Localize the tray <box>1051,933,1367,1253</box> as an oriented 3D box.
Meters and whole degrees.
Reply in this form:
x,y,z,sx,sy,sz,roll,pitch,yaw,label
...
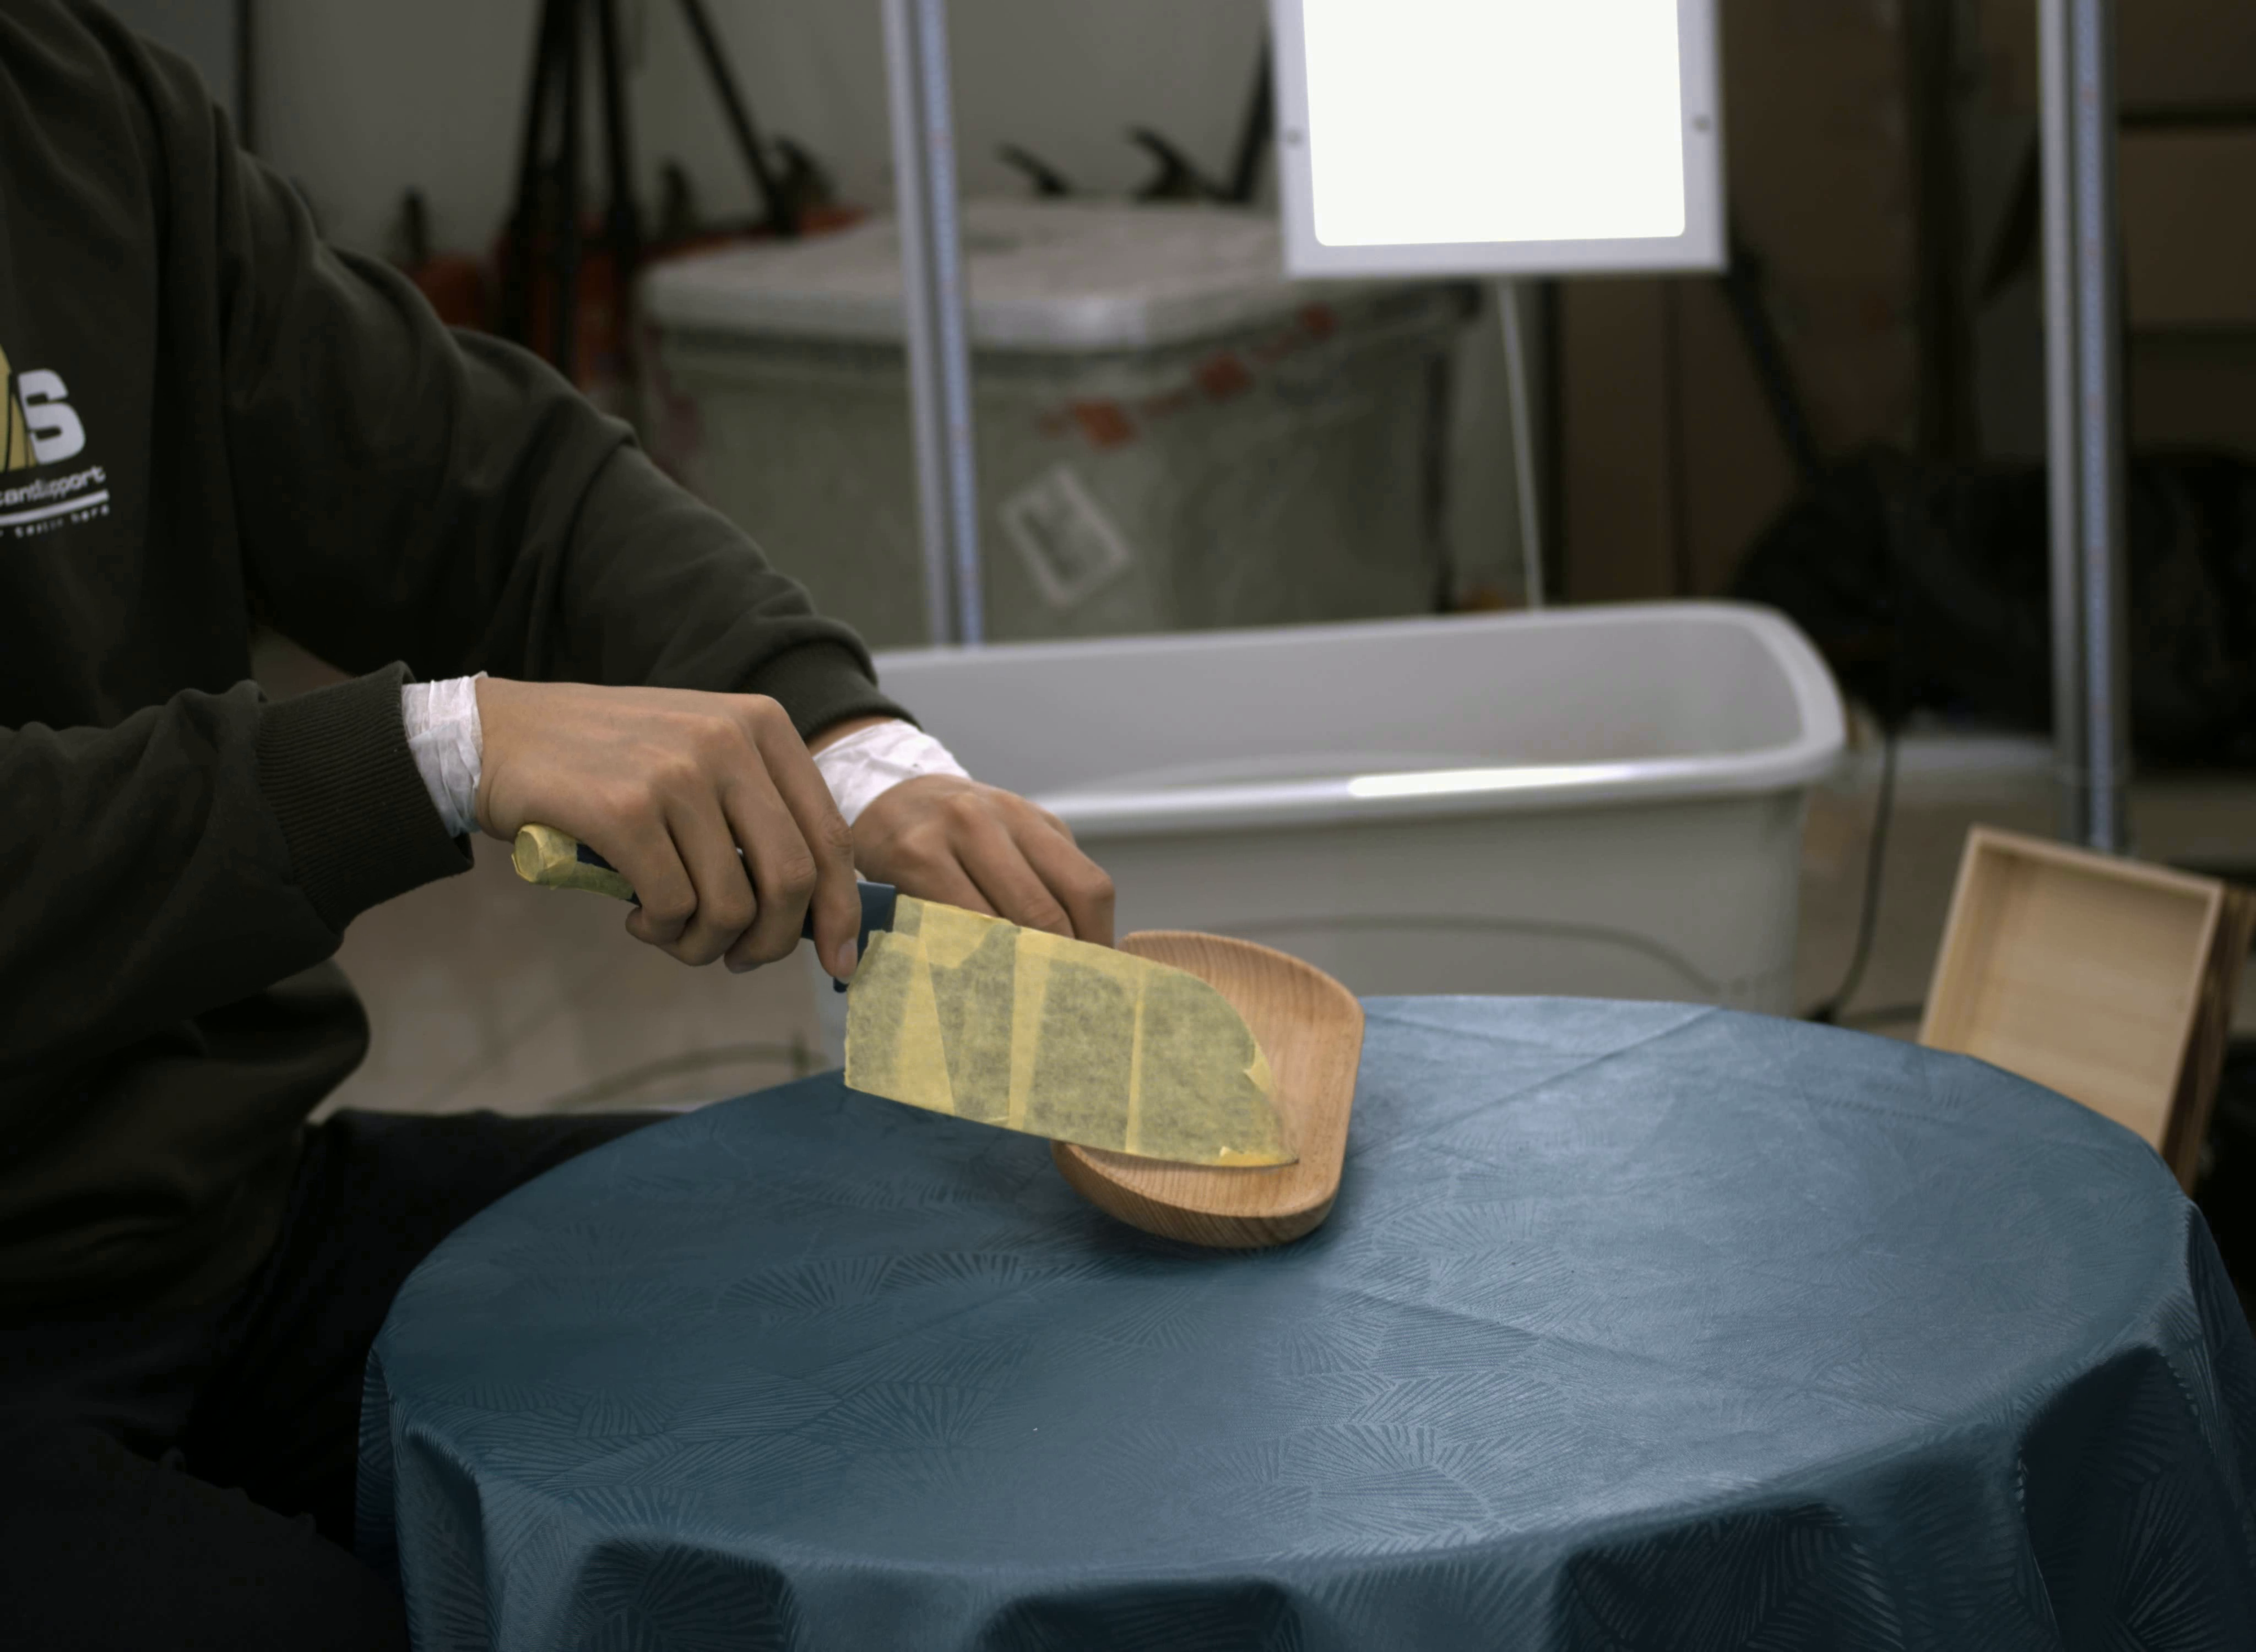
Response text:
x,y,z,sx,sy,sz,roll,pitch,yaw,label
0.030,0.091,1.916,0.101,0.020,0.229,12,24,2,tray

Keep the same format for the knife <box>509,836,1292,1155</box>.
x,y,z,sx,sy,sz,roll,pitch,yaw,label
-0.071,0.057,1.830,0.285,0.081,0.028,16,-28,-19,knife
